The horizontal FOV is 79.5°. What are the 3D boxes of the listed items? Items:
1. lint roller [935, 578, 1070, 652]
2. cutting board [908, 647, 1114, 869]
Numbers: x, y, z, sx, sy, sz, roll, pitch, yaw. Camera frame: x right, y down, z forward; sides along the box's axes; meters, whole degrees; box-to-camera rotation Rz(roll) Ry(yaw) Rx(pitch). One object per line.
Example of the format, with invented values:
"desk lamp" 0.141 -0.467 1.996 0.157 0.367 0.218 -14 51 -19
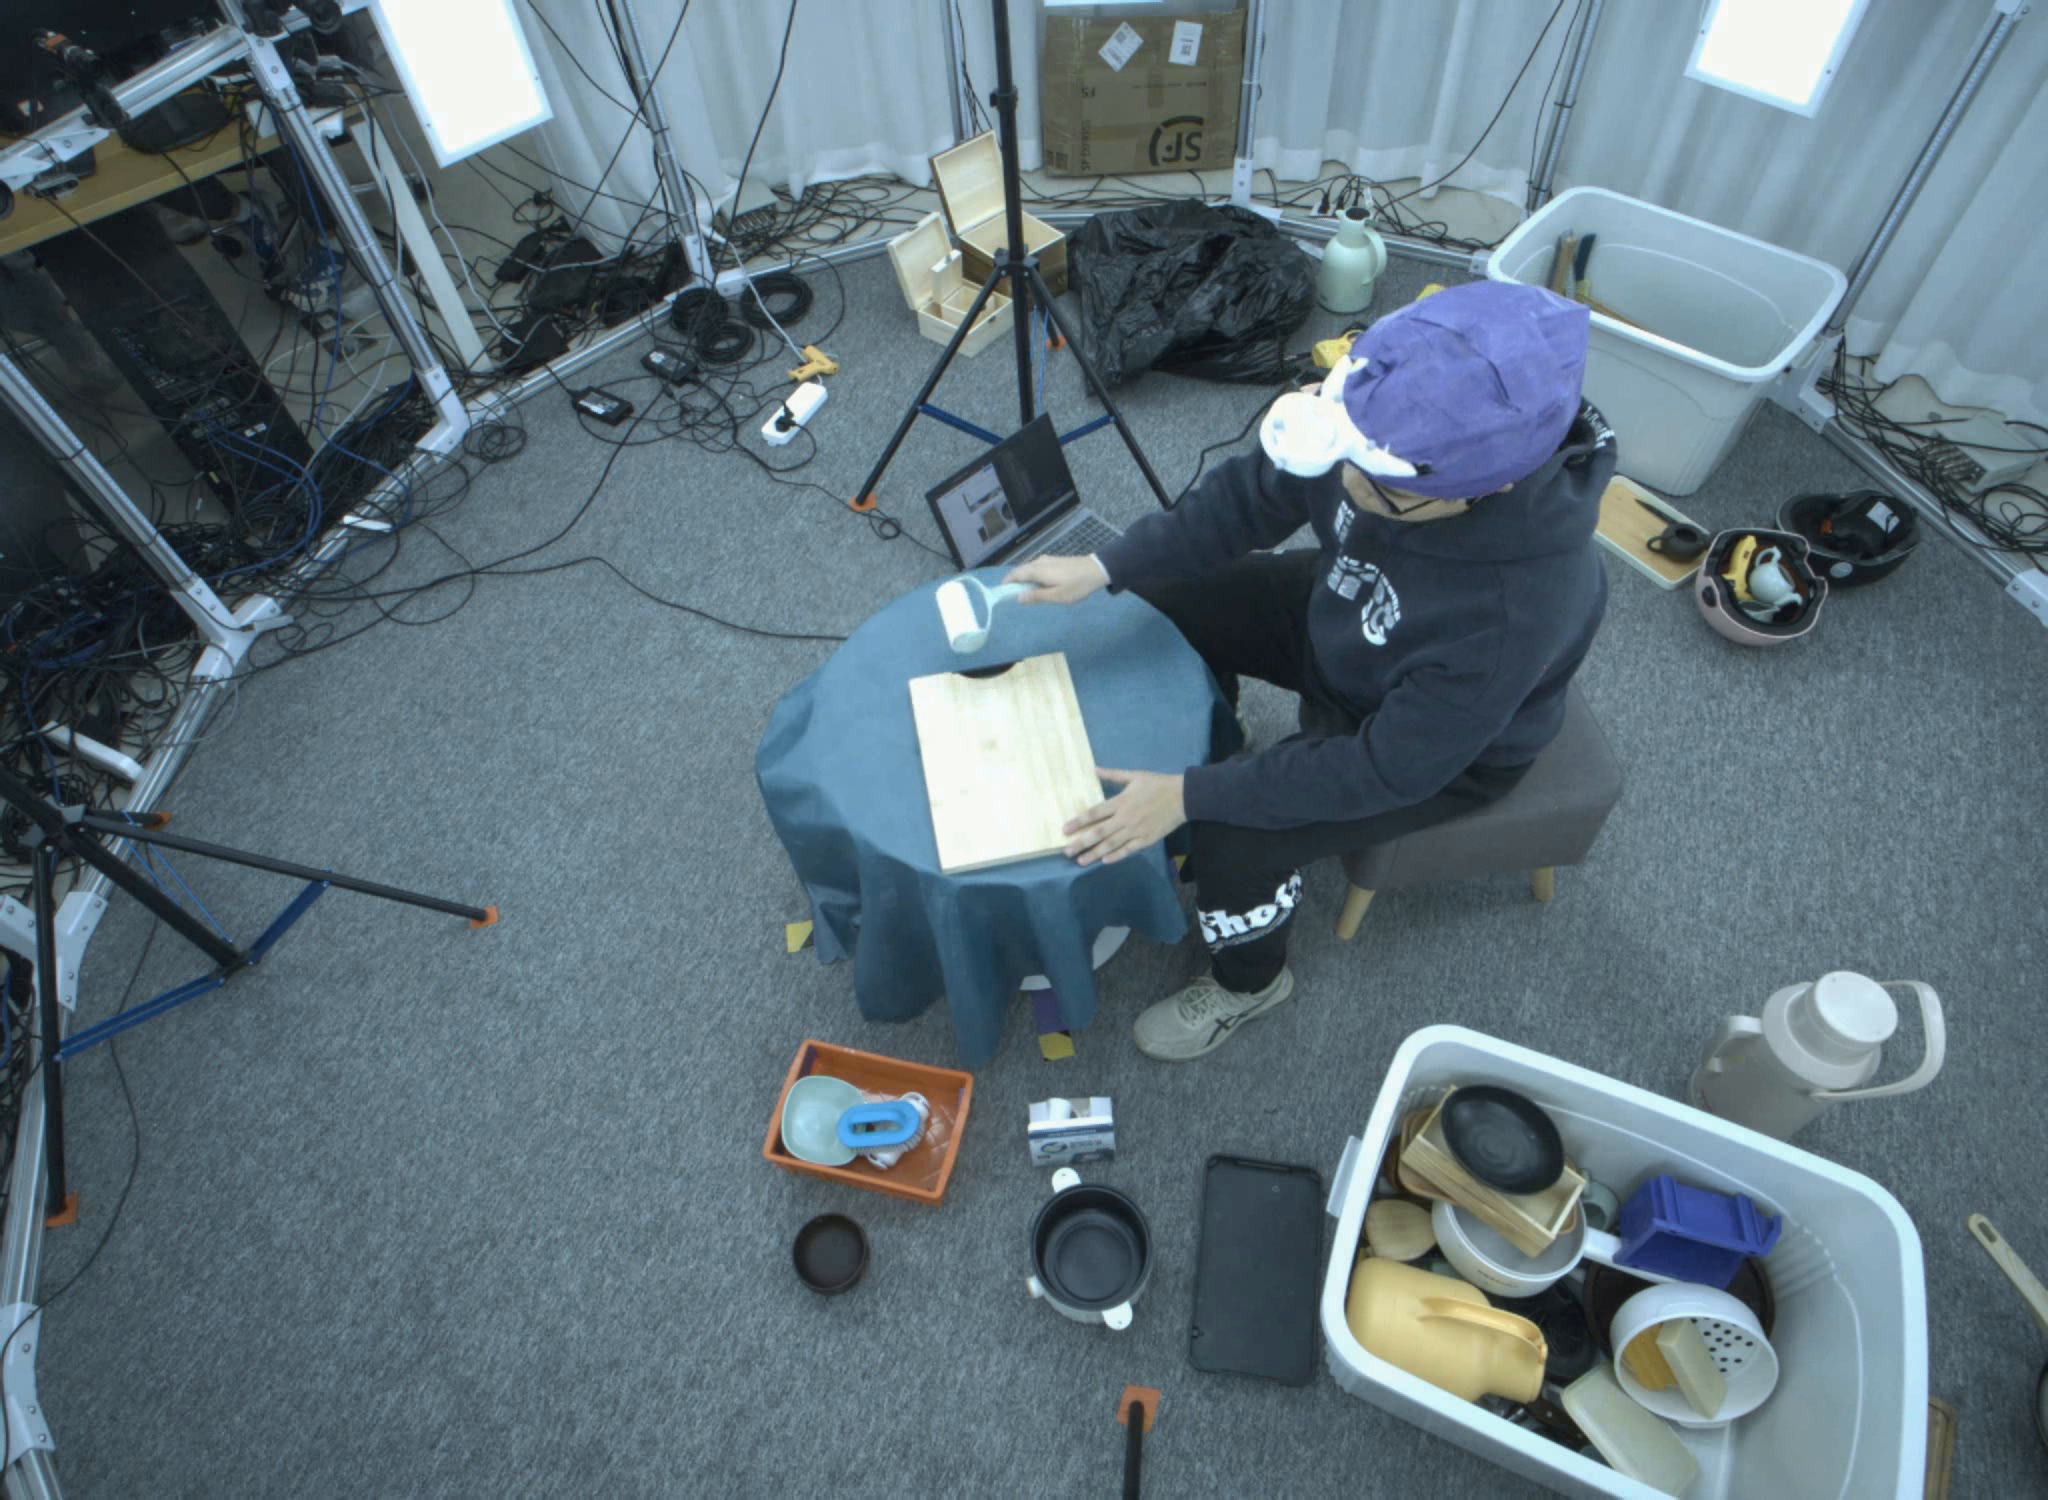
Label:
"lint roller" -0.028 -0.220 1.818 0.198 0.049 0.115 -19 54 -1
"cutting board" -0.026 0.006 1.775 0.252 0.024 0.343 -10 55 -6
